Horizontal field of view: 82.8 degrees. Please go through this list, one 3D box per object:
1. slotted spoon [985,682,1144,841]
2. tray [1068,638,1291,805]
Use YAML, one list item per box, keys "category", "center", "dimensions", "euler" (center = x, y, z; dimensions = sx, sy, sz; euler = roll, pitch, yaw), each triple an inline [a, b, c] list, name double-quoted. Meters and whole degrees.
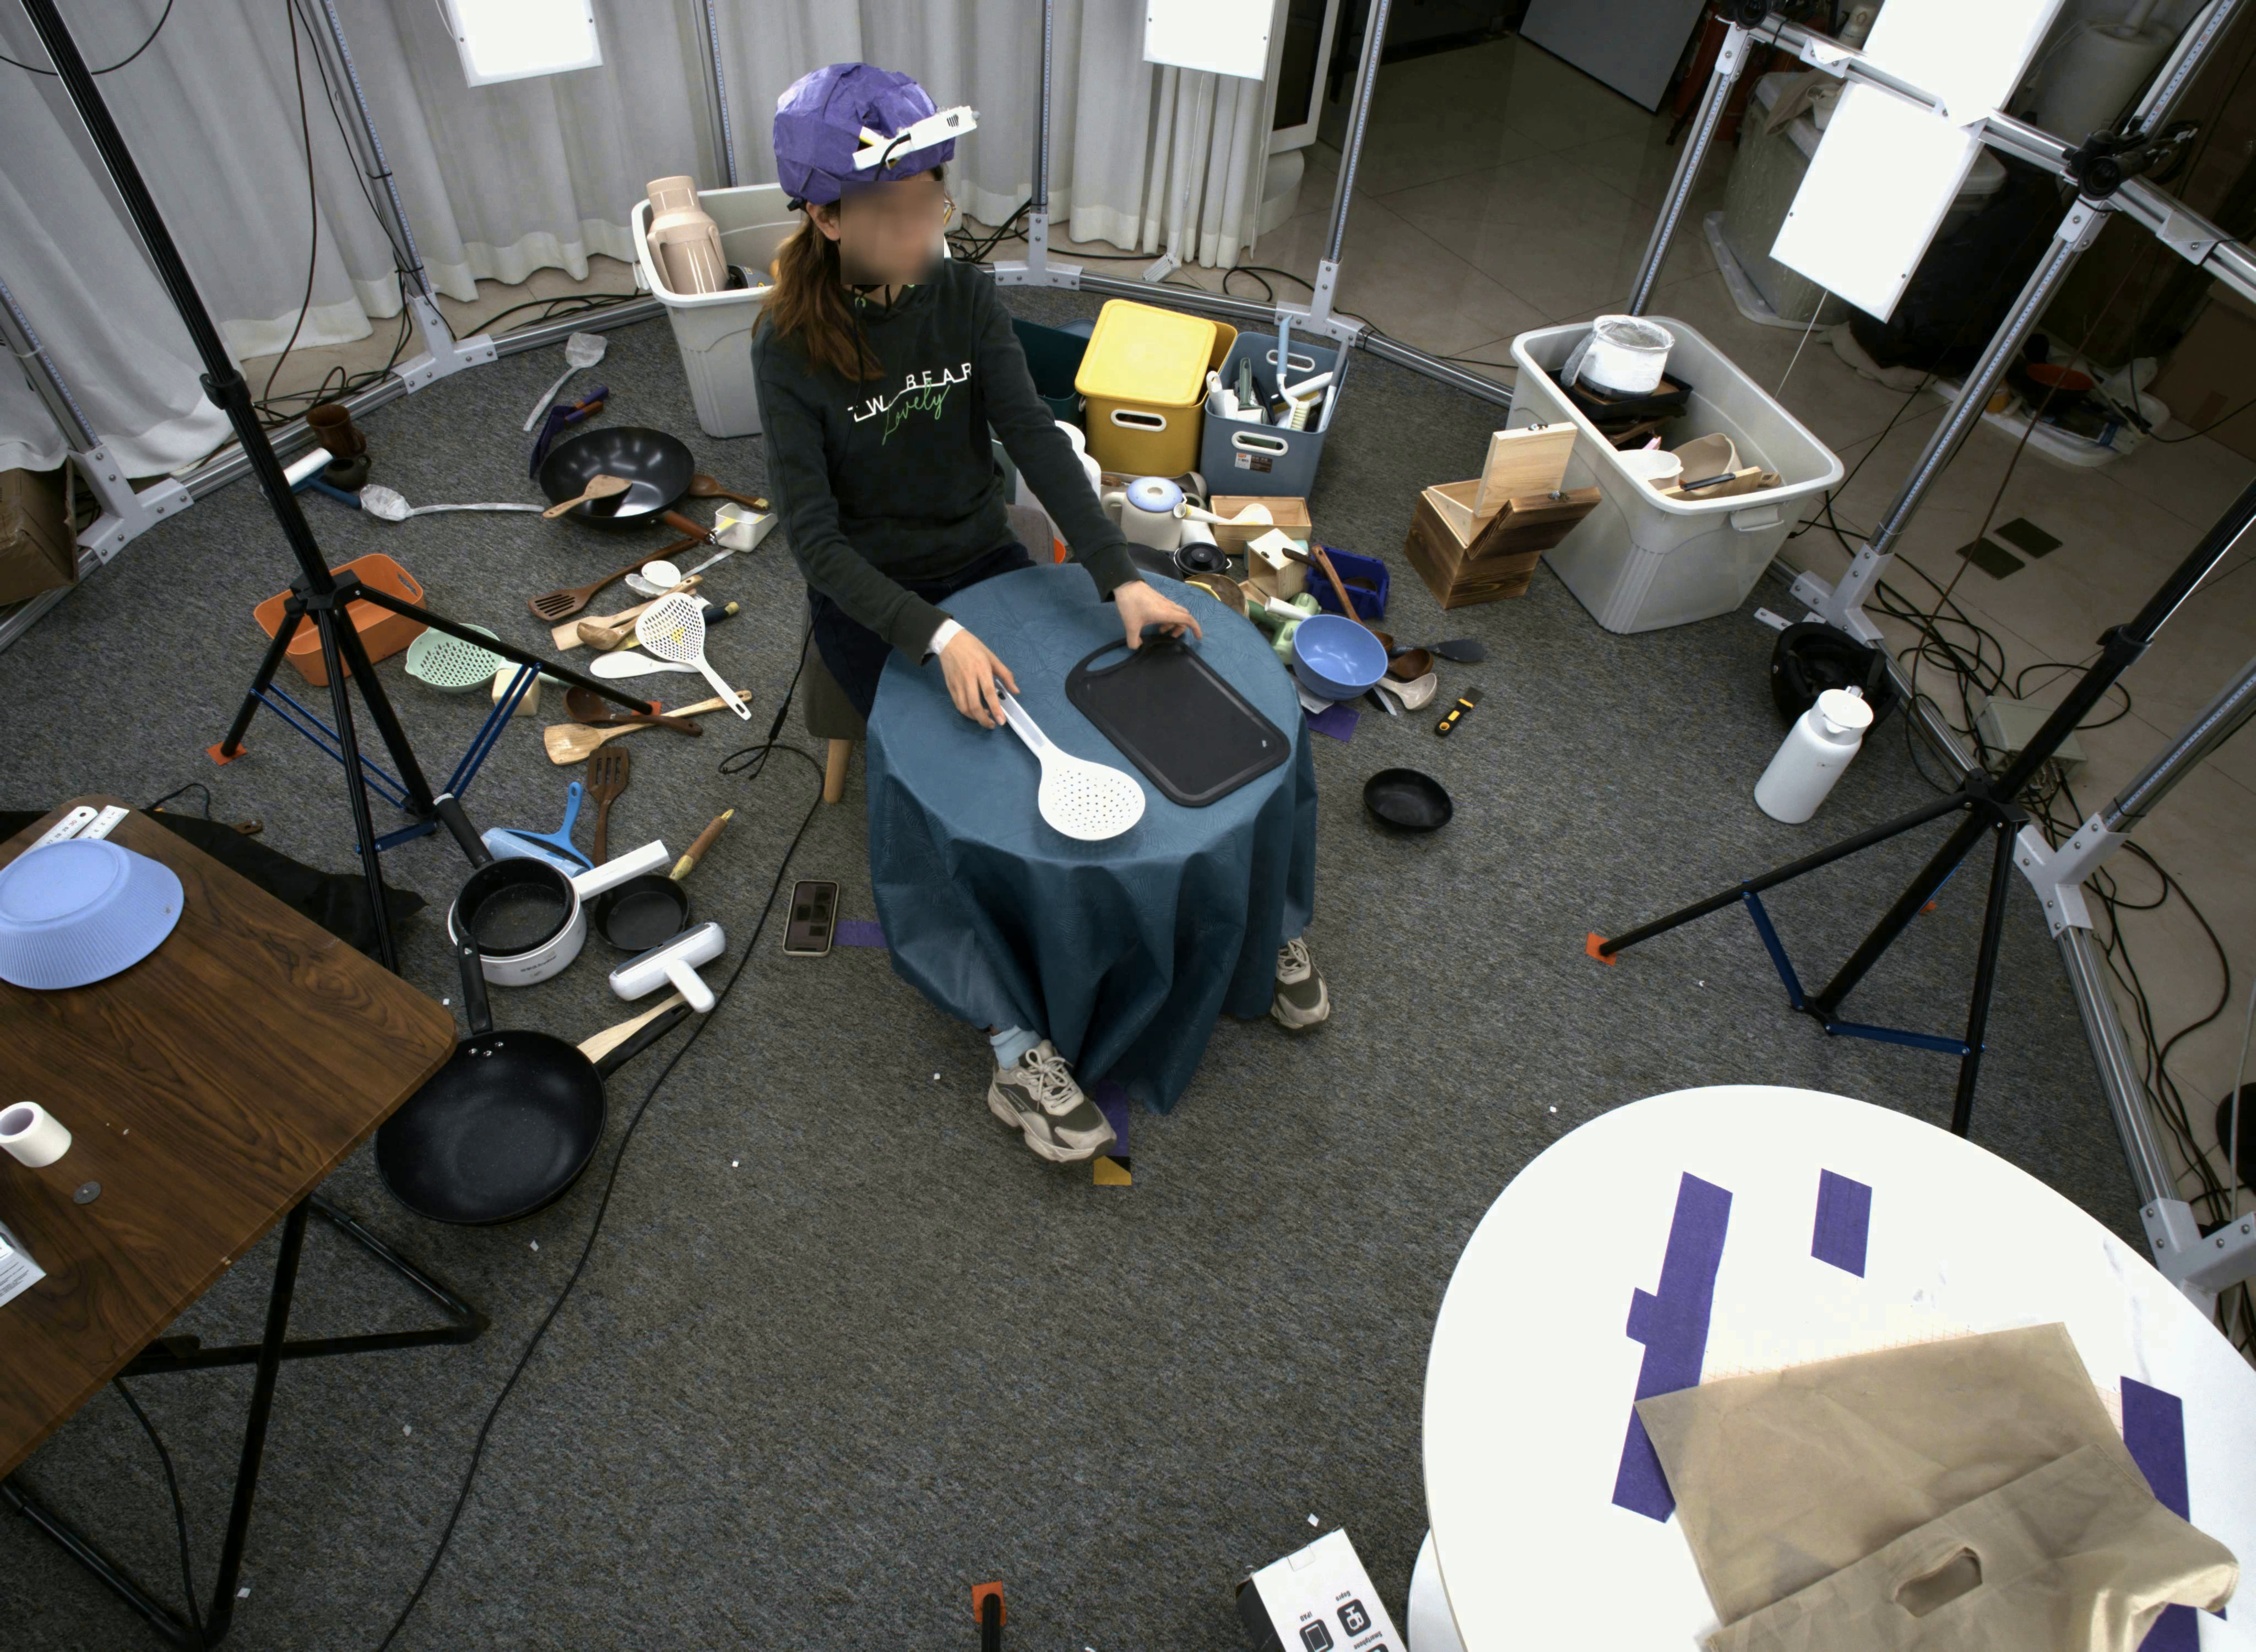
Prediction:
- category: "slotted spoon"
  center: [-0.104, -0.092, 1.728]
  dimensions: [0.136, 0.044, 0.357]
  euler: [-21, 53, -23]
- category: "tray"
  center: [0.065, -0.161, 1.824]
  dimensions: [0.212, 0.009, 0.331]
  euler: [-28, 56, -26]
